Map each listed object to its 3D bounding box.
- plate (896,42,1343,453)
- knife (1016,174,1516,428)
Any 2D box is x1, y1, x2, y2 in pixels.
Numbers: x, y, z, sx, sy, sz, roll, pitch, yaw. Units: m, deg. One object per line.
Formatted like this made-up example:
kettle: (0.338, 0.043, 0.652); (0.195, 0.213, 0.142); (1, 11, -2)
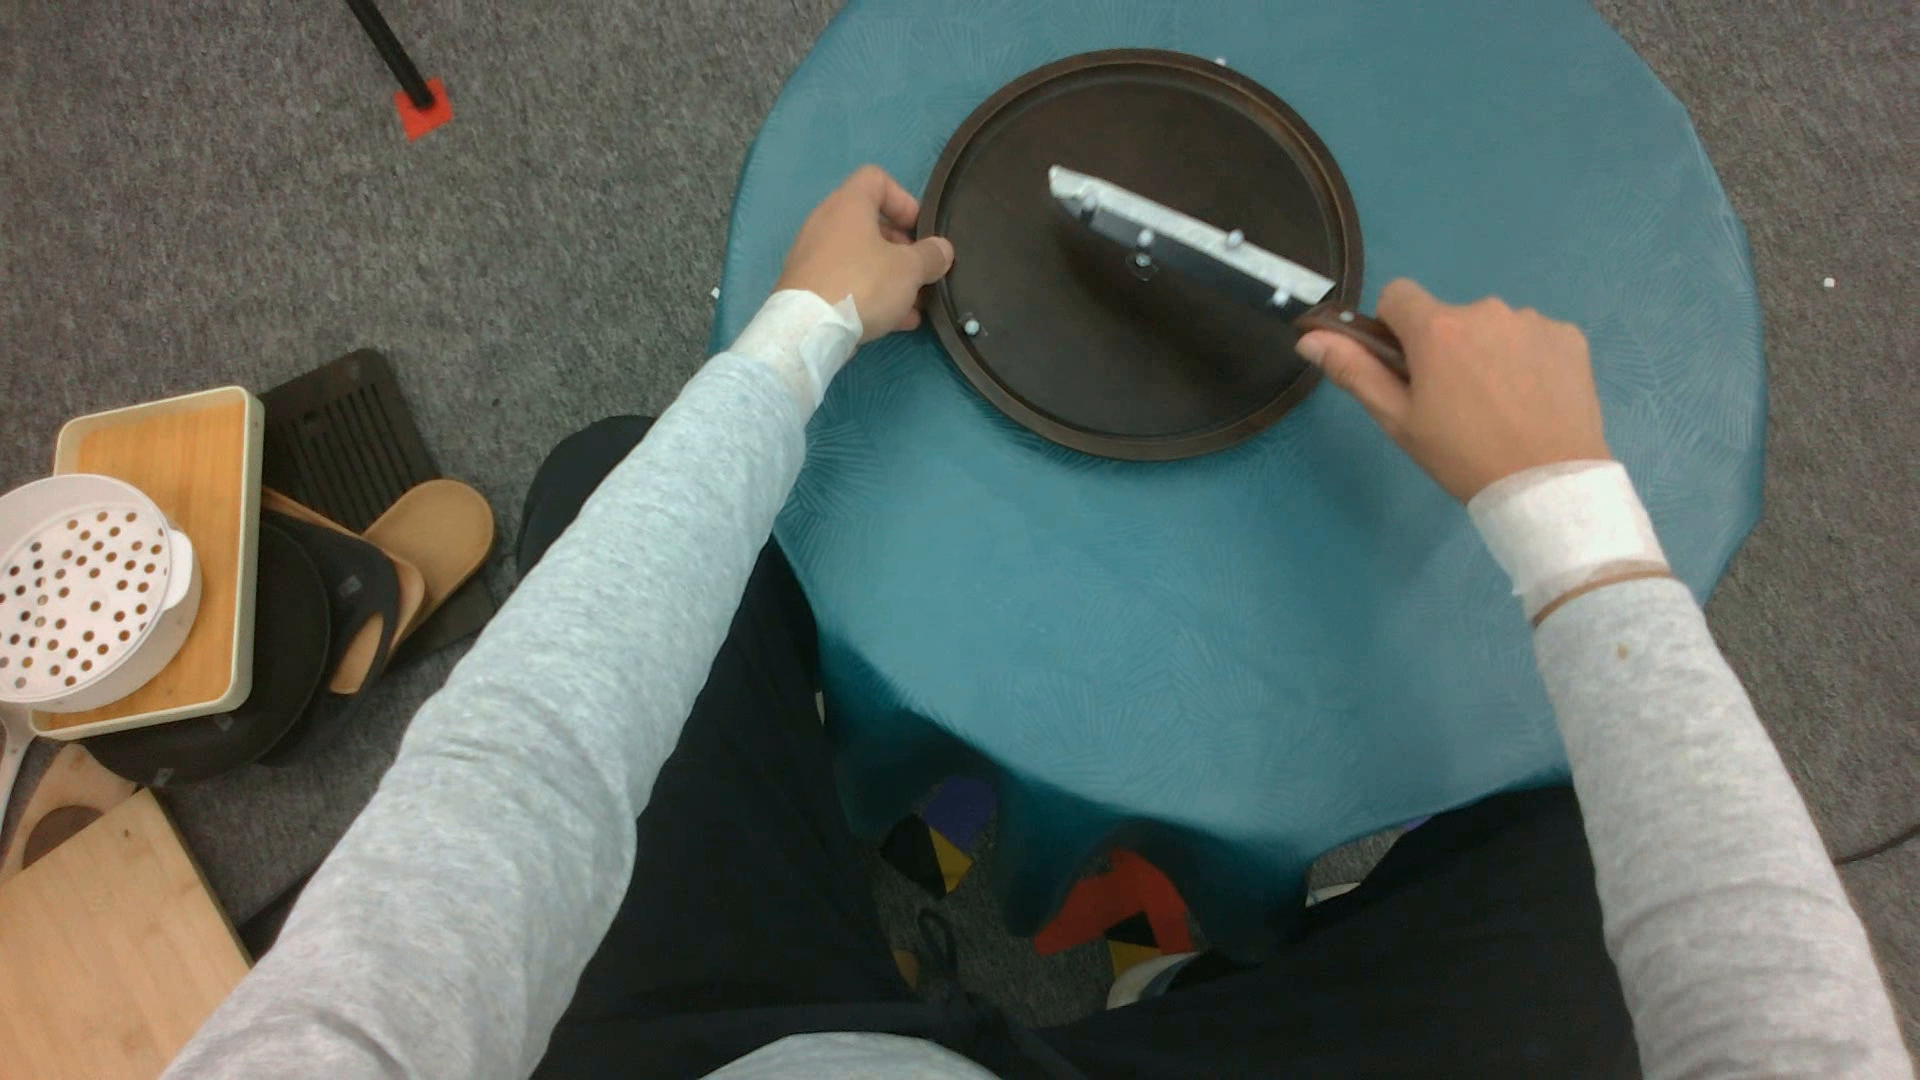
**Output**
plate: (0.090, -0.169, 0.783); (0.255, 0.029, 0.255); (1, 76, -3)
knife: (0.148, -0.129, 0.706); (0.289, 0.020, 0.050); (30, 50, 19)
